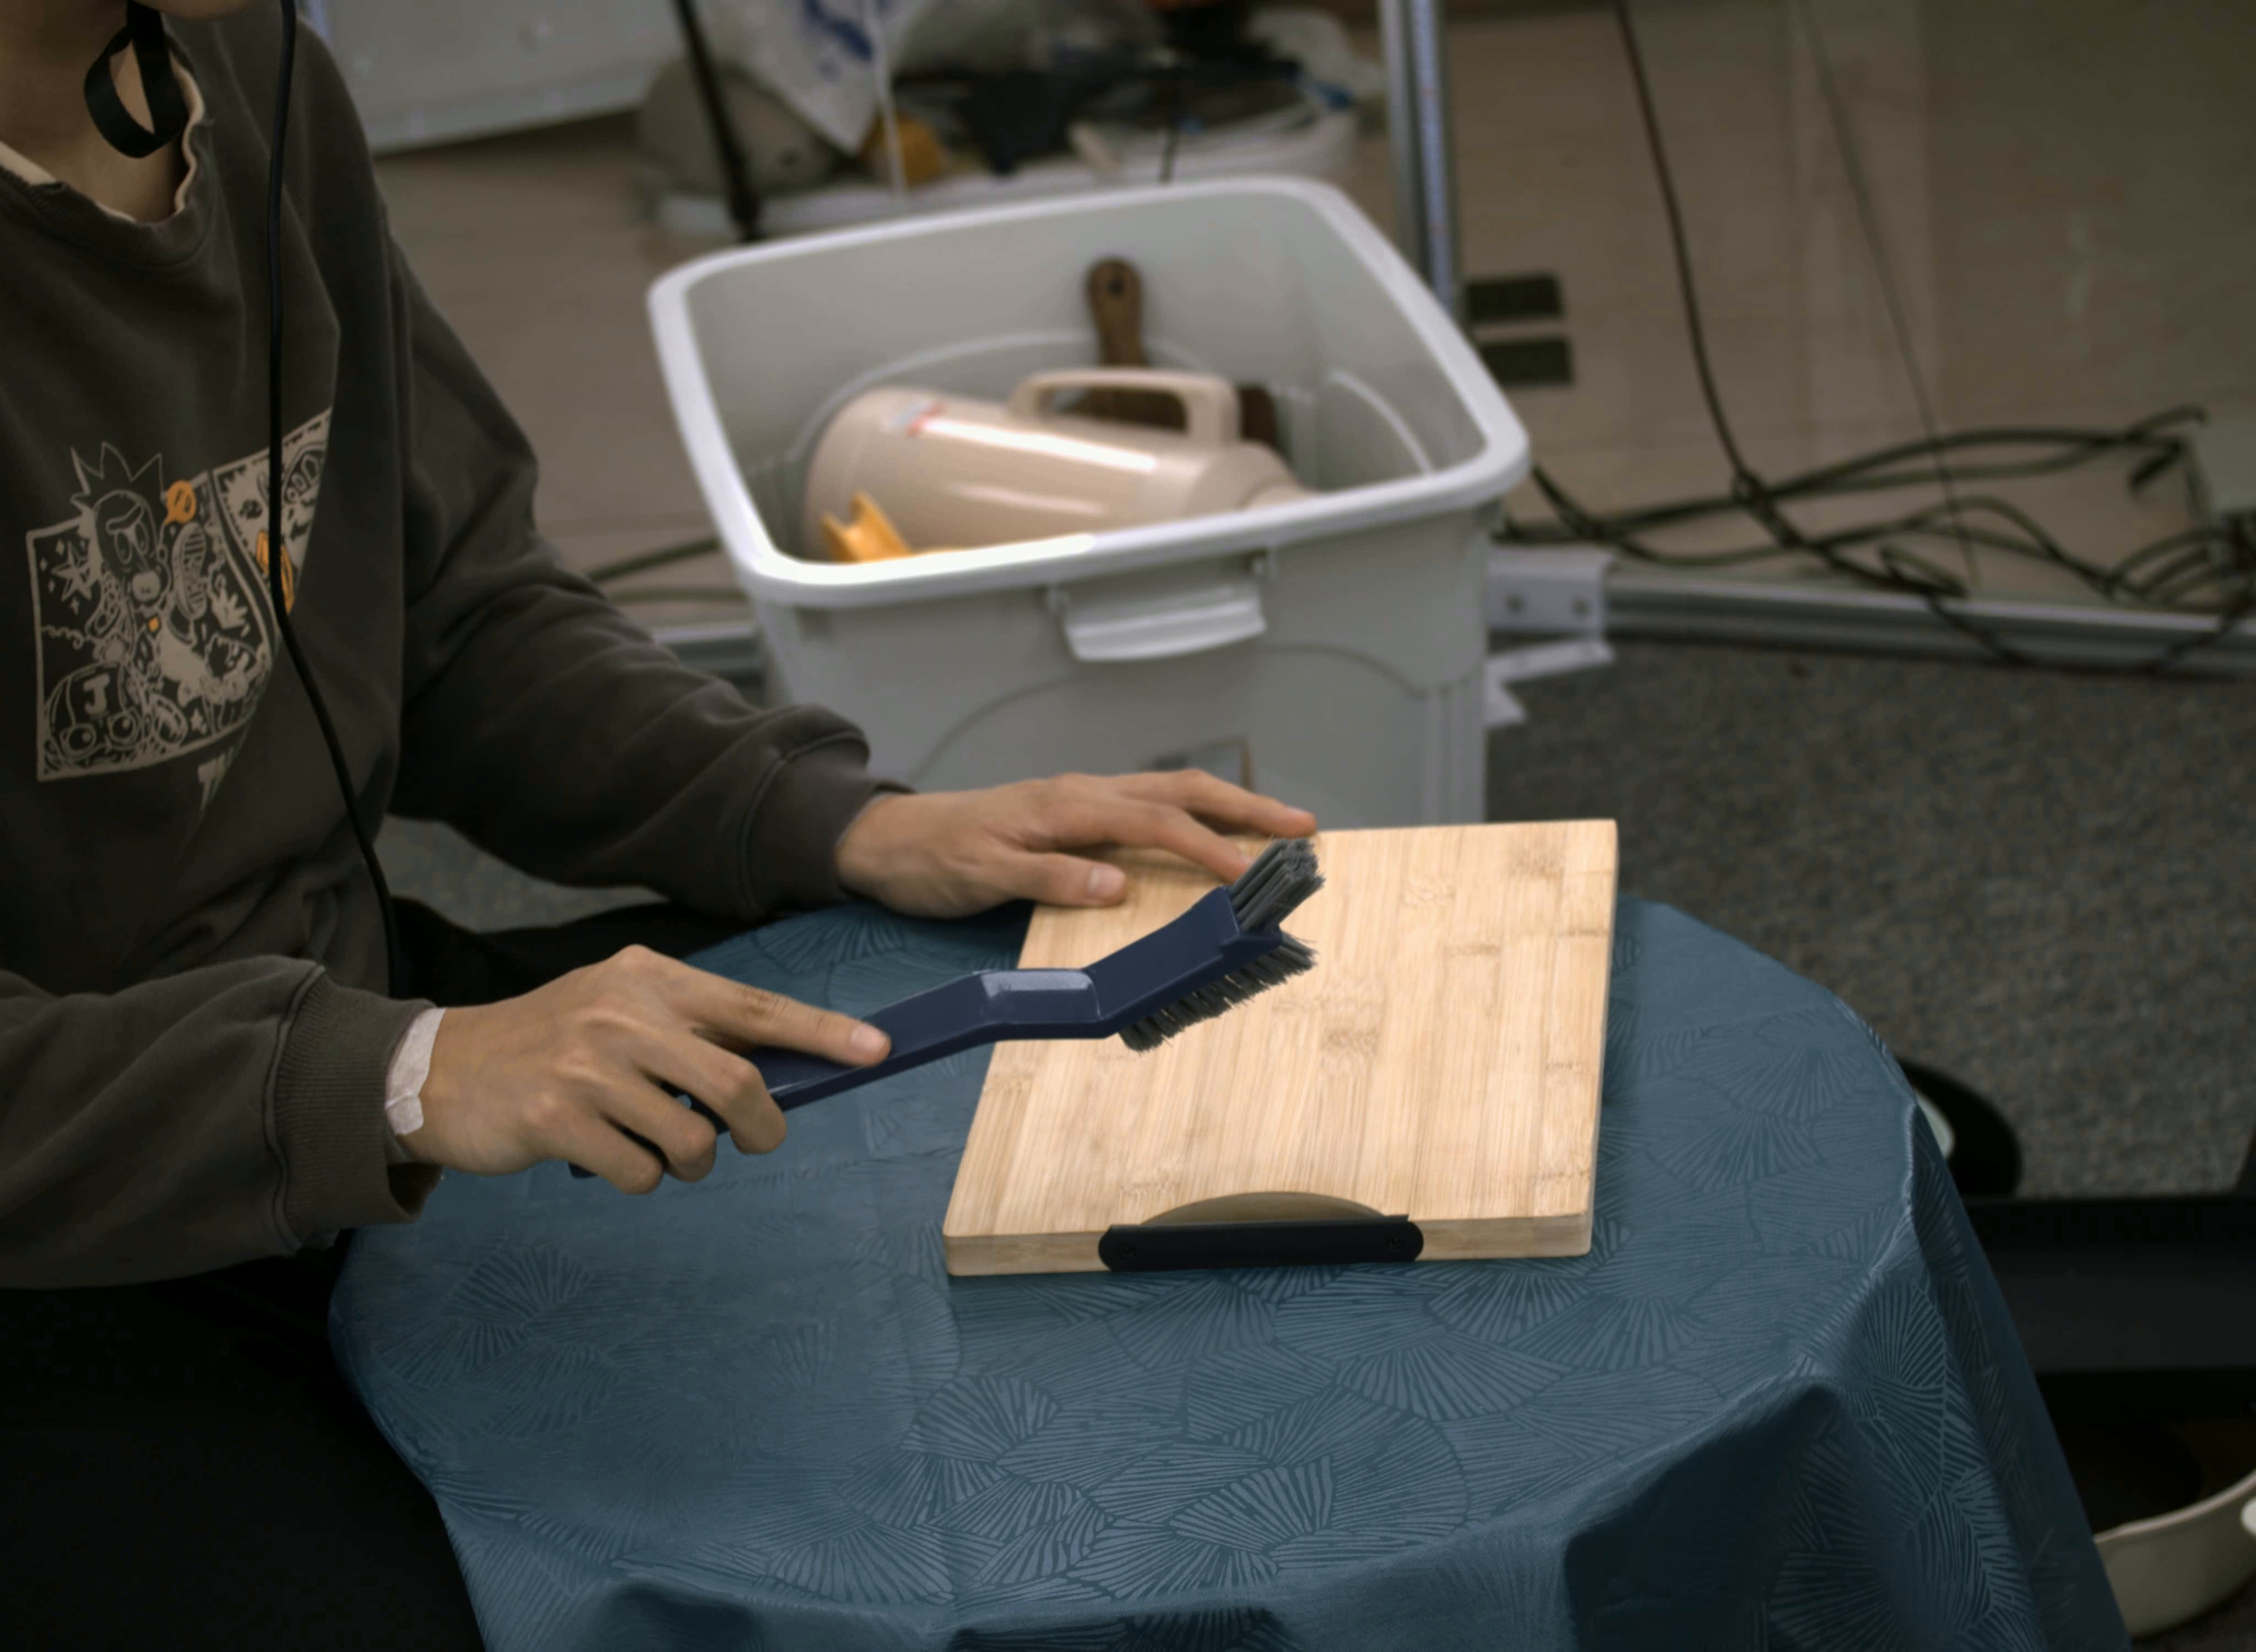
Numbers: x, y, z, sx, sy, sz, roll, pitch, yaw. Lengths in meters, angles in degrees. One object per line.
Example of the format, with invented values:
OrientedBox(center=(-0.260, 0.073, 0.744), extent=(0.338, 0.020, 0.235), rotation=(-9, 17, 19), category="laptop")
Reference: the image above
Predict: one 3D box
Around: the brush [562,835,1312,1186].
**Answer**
OrientedBox(center=(-0.069, 0.065, 1.991), extent=(0.272, 0.097, 0.033), rotation=(-14, 56, -4), category="brush")

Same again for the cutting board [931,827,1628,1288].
OrientedBox(center=(0.067, 0.085, 2.226), extent=(0.250, 0.024, 0.343), rotation=(-4, 25, 8), category="cutting board")
